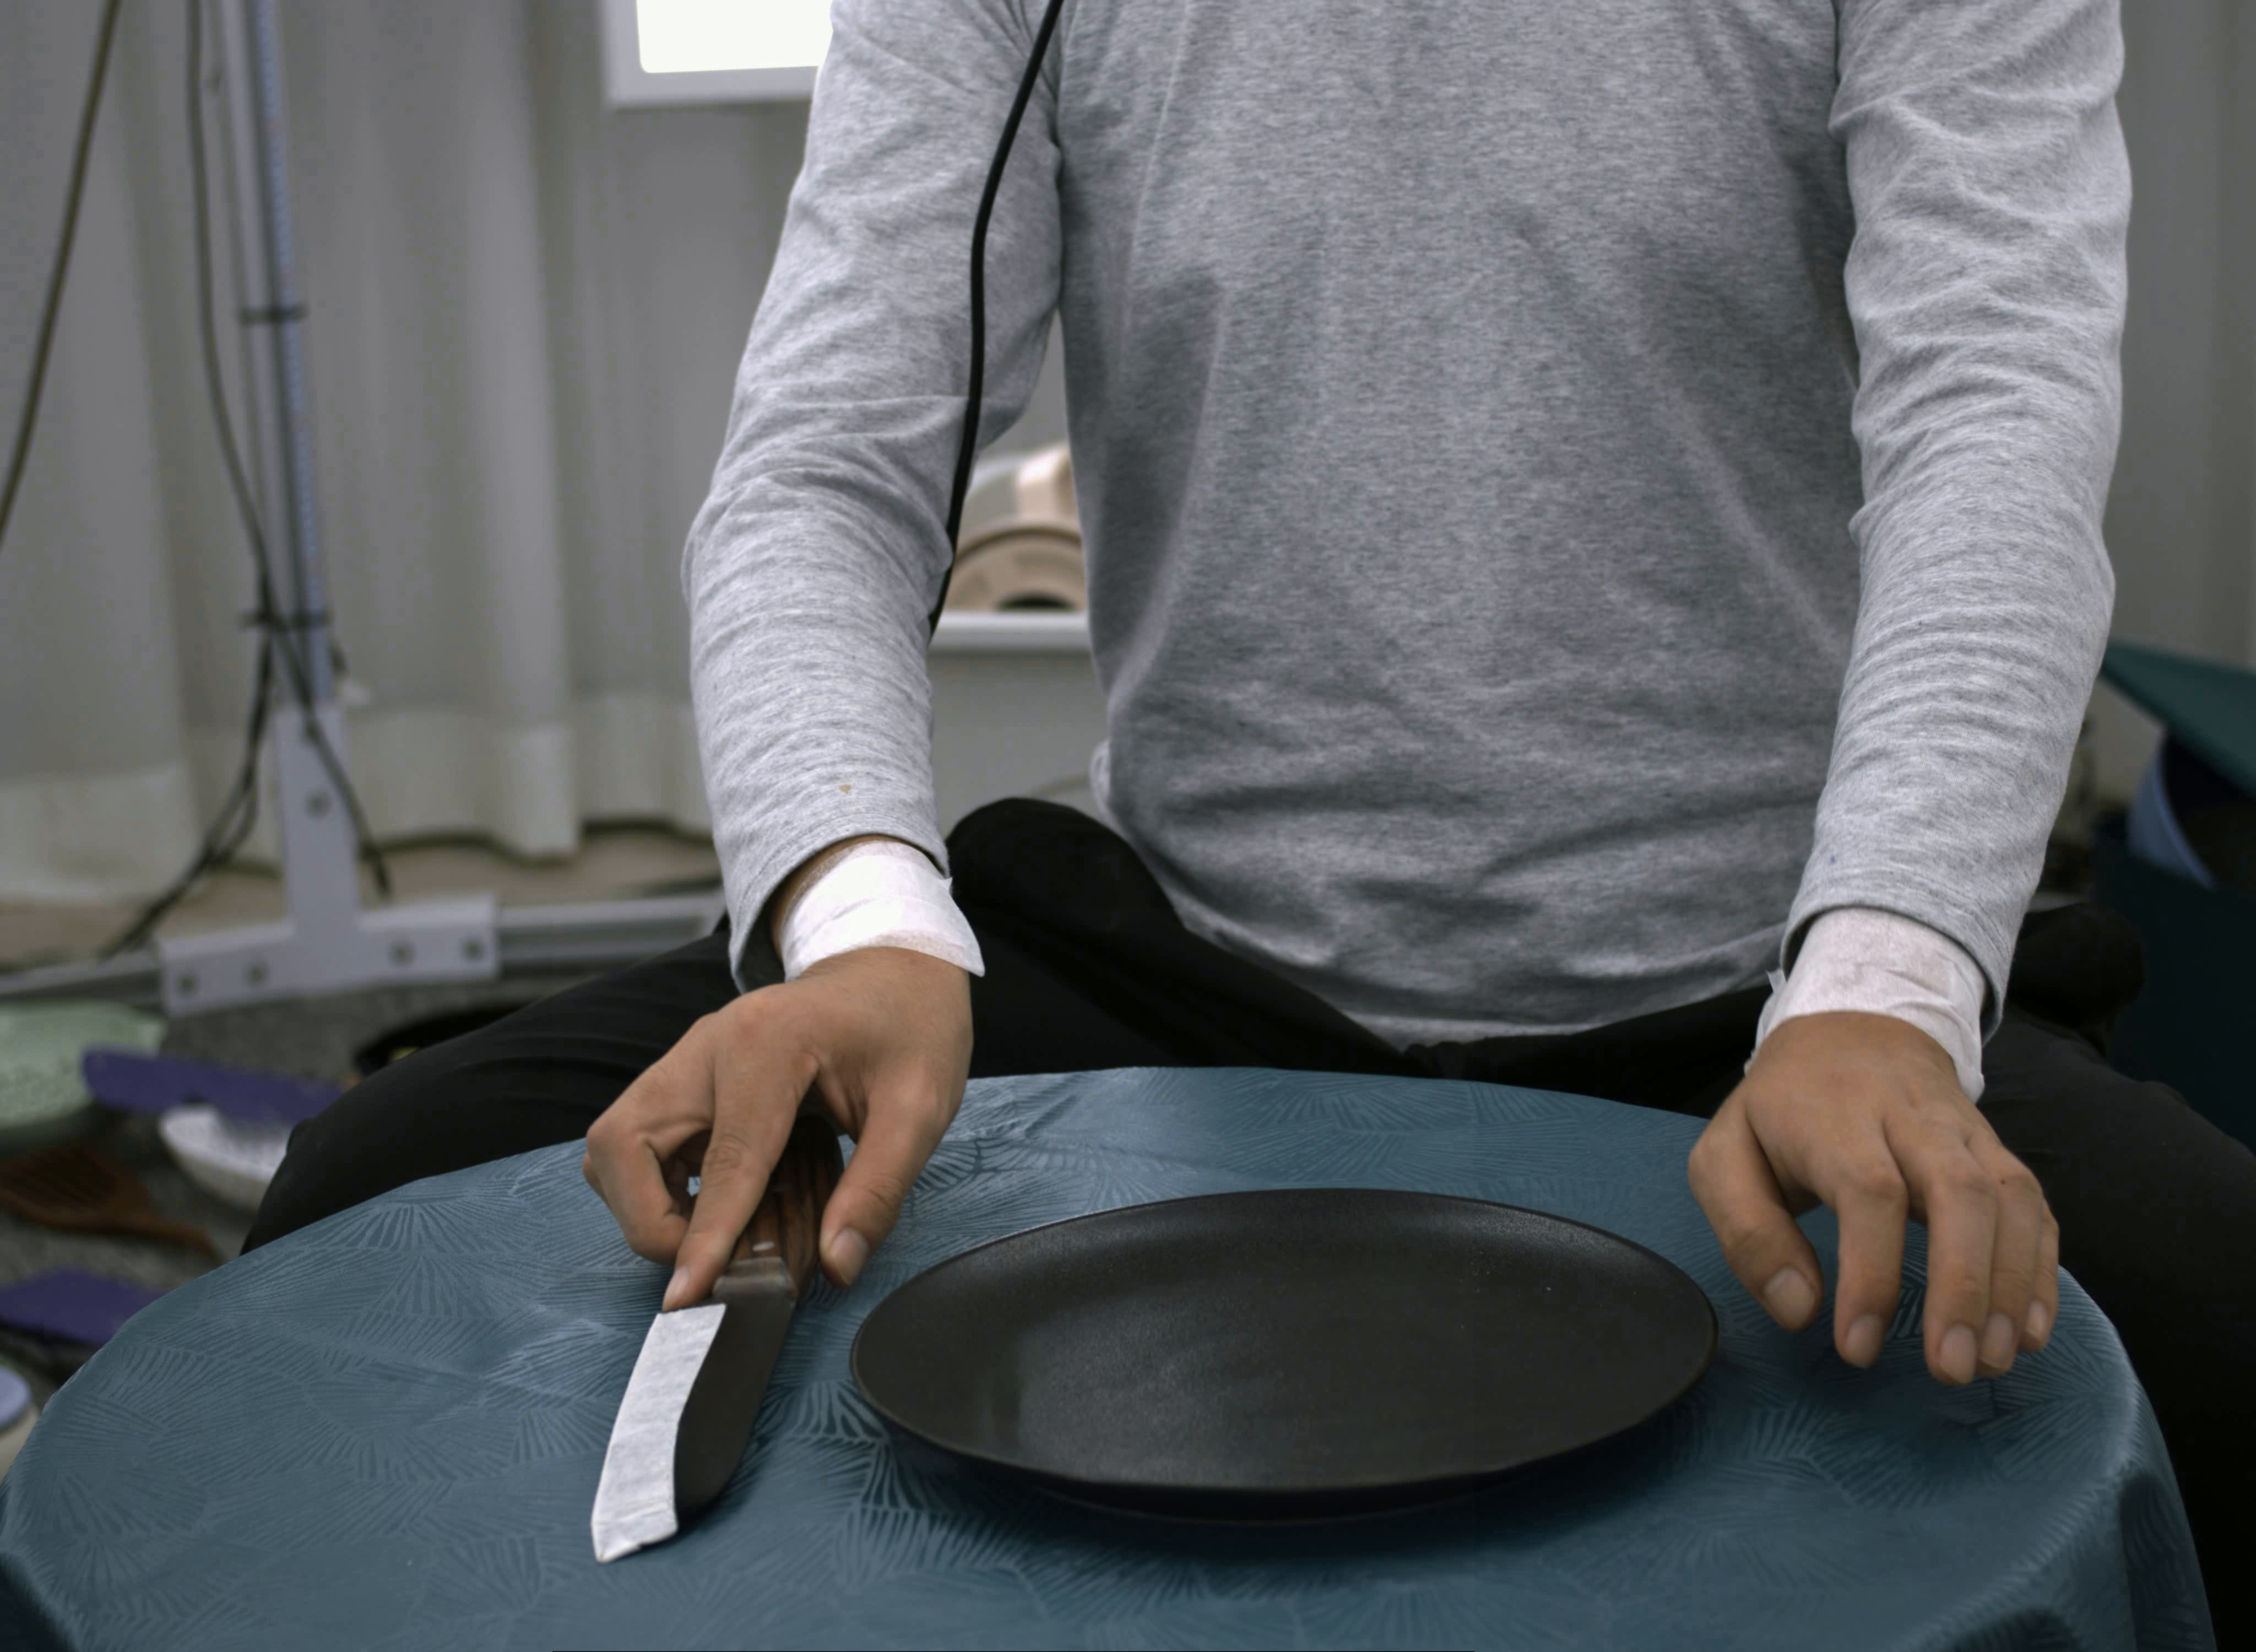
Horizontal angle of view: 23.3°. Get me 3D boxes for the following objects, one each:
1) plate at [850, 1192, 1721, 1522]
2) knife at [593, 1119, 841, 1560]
[{"bbox_3d":[0.044,0.151,1.528,0.243,0.023,0.246,-3,15,0],"label":"plate"},{"bbox_3d":[-0.117,0.147,1.575,0.050,0.020,0.291,-11,17,11],"label":"knife"}]
